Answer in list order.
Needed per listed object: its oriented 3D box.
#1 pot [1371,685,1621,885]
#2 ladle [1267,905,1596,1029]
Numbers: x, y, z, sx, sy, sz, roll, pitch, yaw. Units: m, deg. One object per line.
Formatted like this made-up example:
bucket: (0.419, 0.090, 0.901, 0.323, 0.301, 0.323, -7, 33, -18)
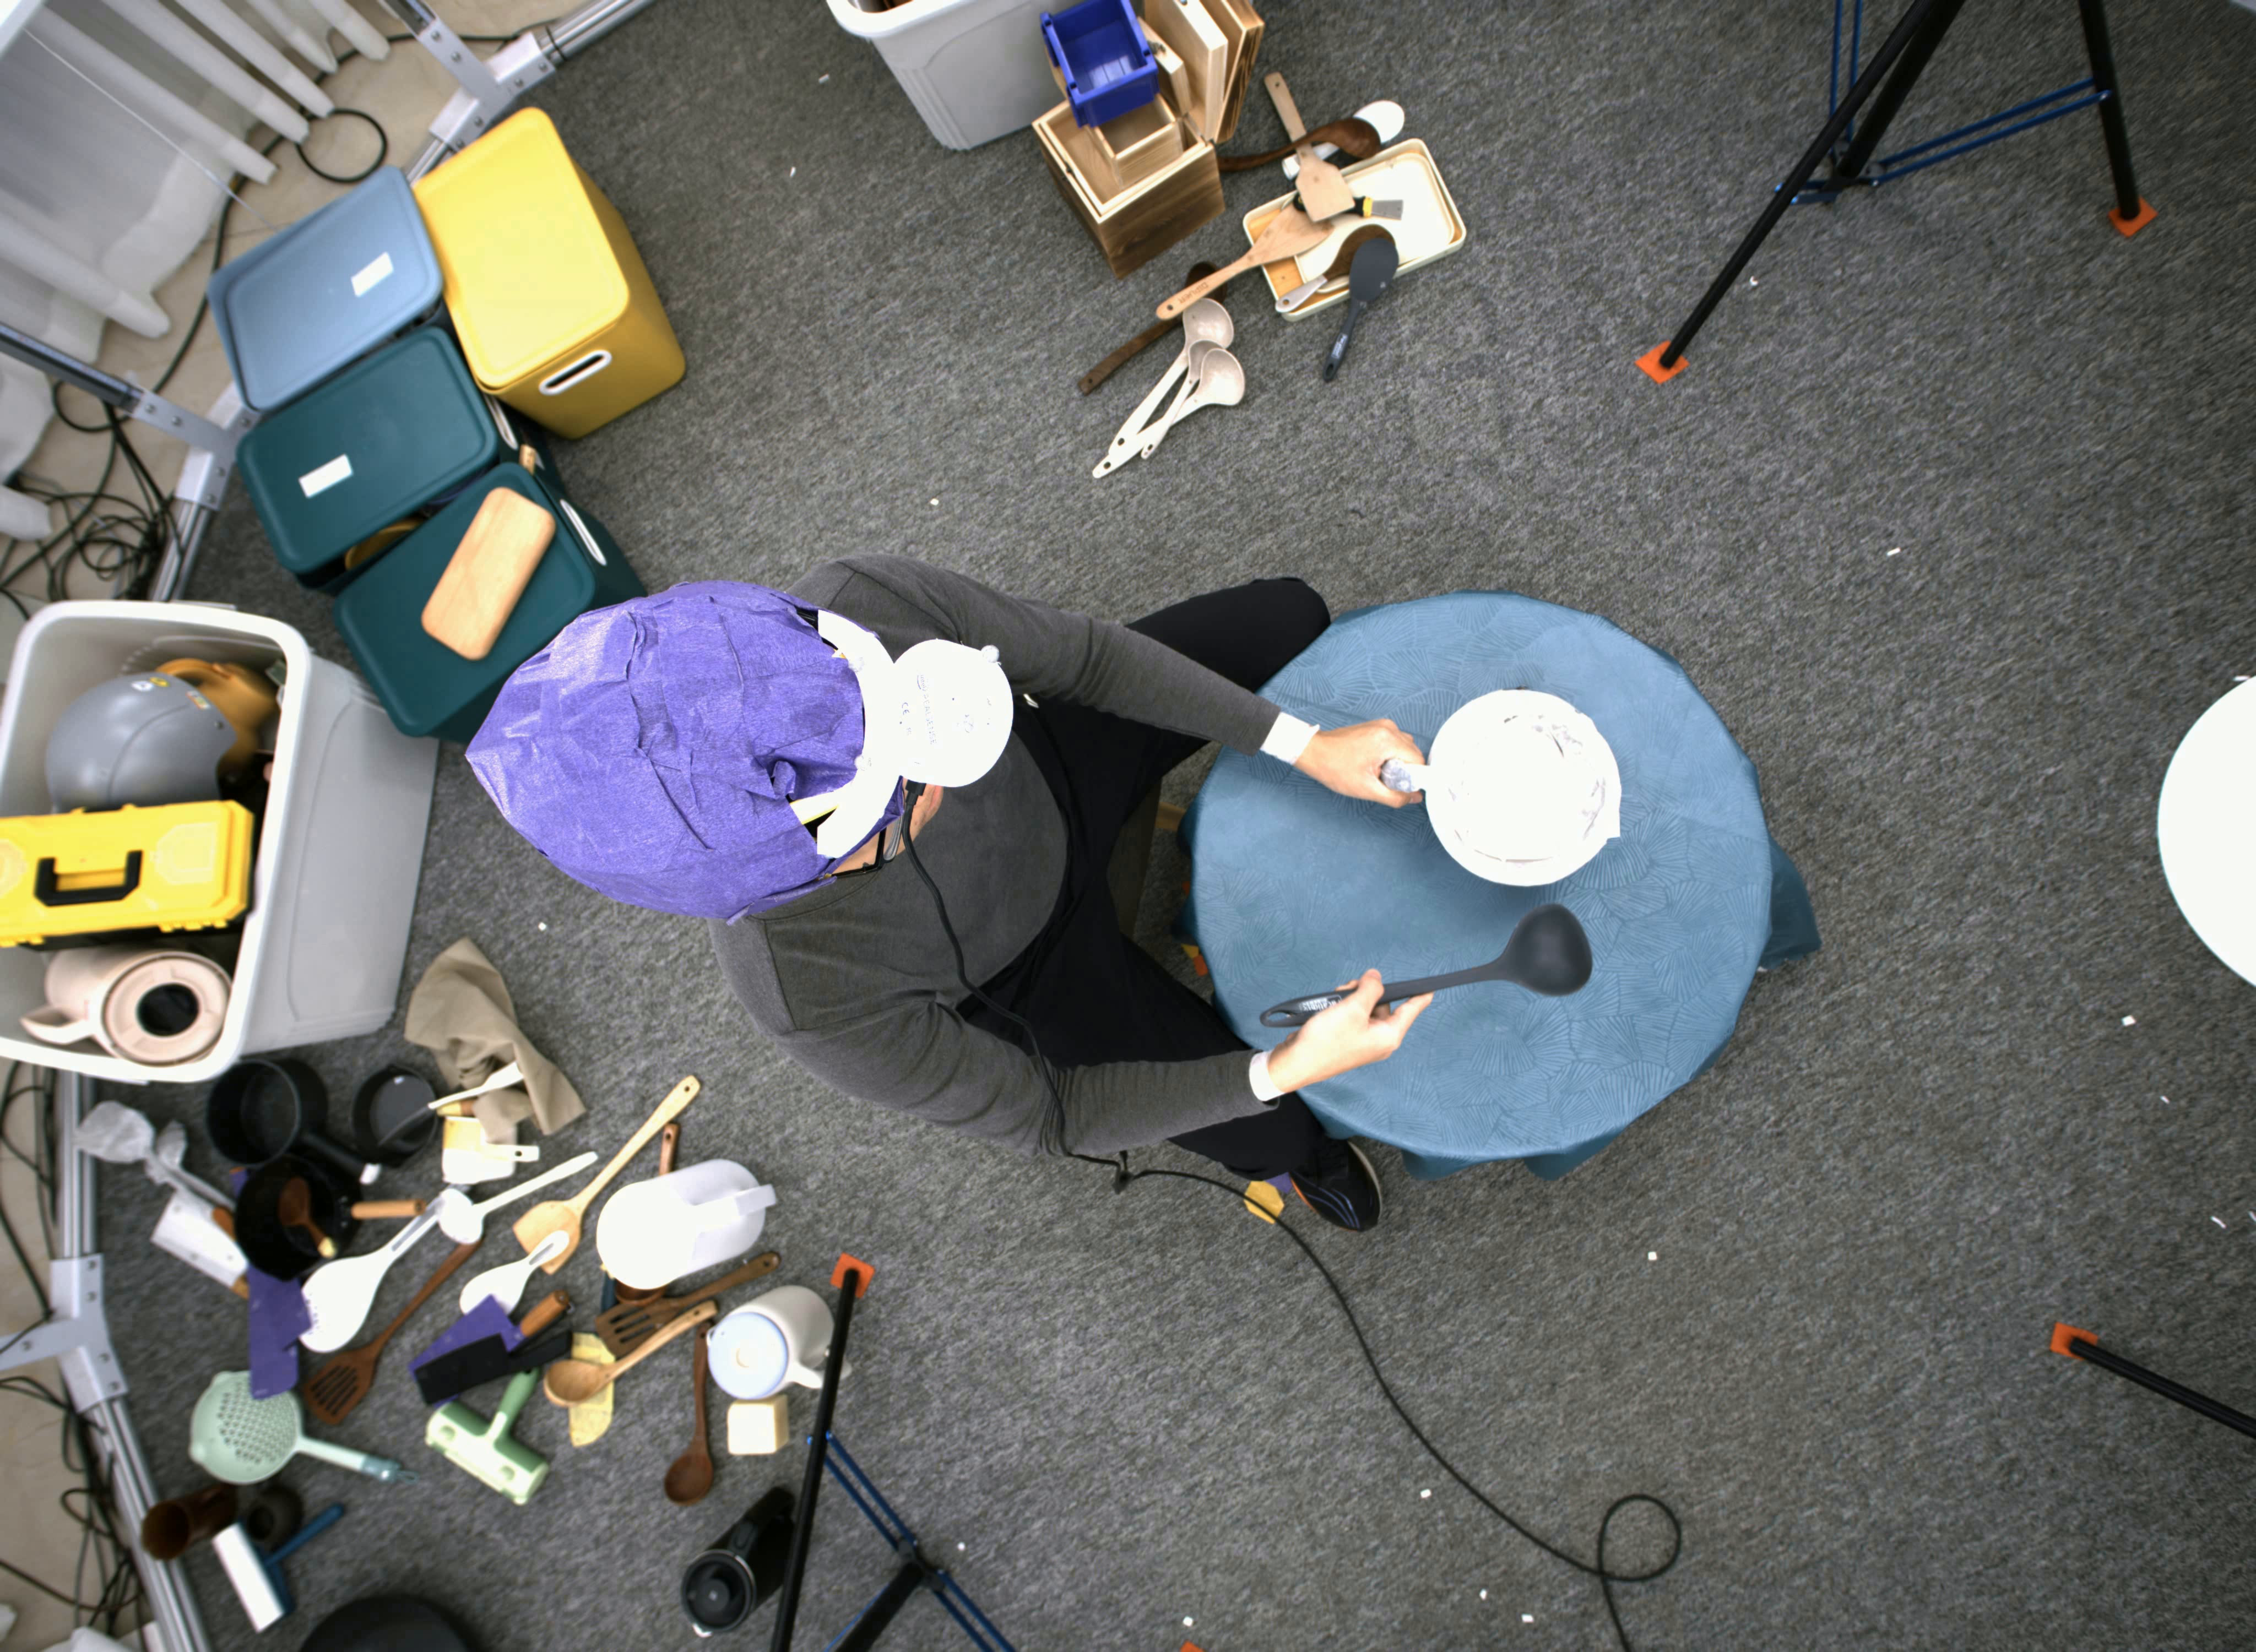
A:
pot: (0.355, -0.048, 1.347, 0.234, 0.134, 0.181, 6, 104, 12)
ladle: (0.274, 0.137, 1.236, 0.312, 0.065, 0.085, -9, 68, -17)
